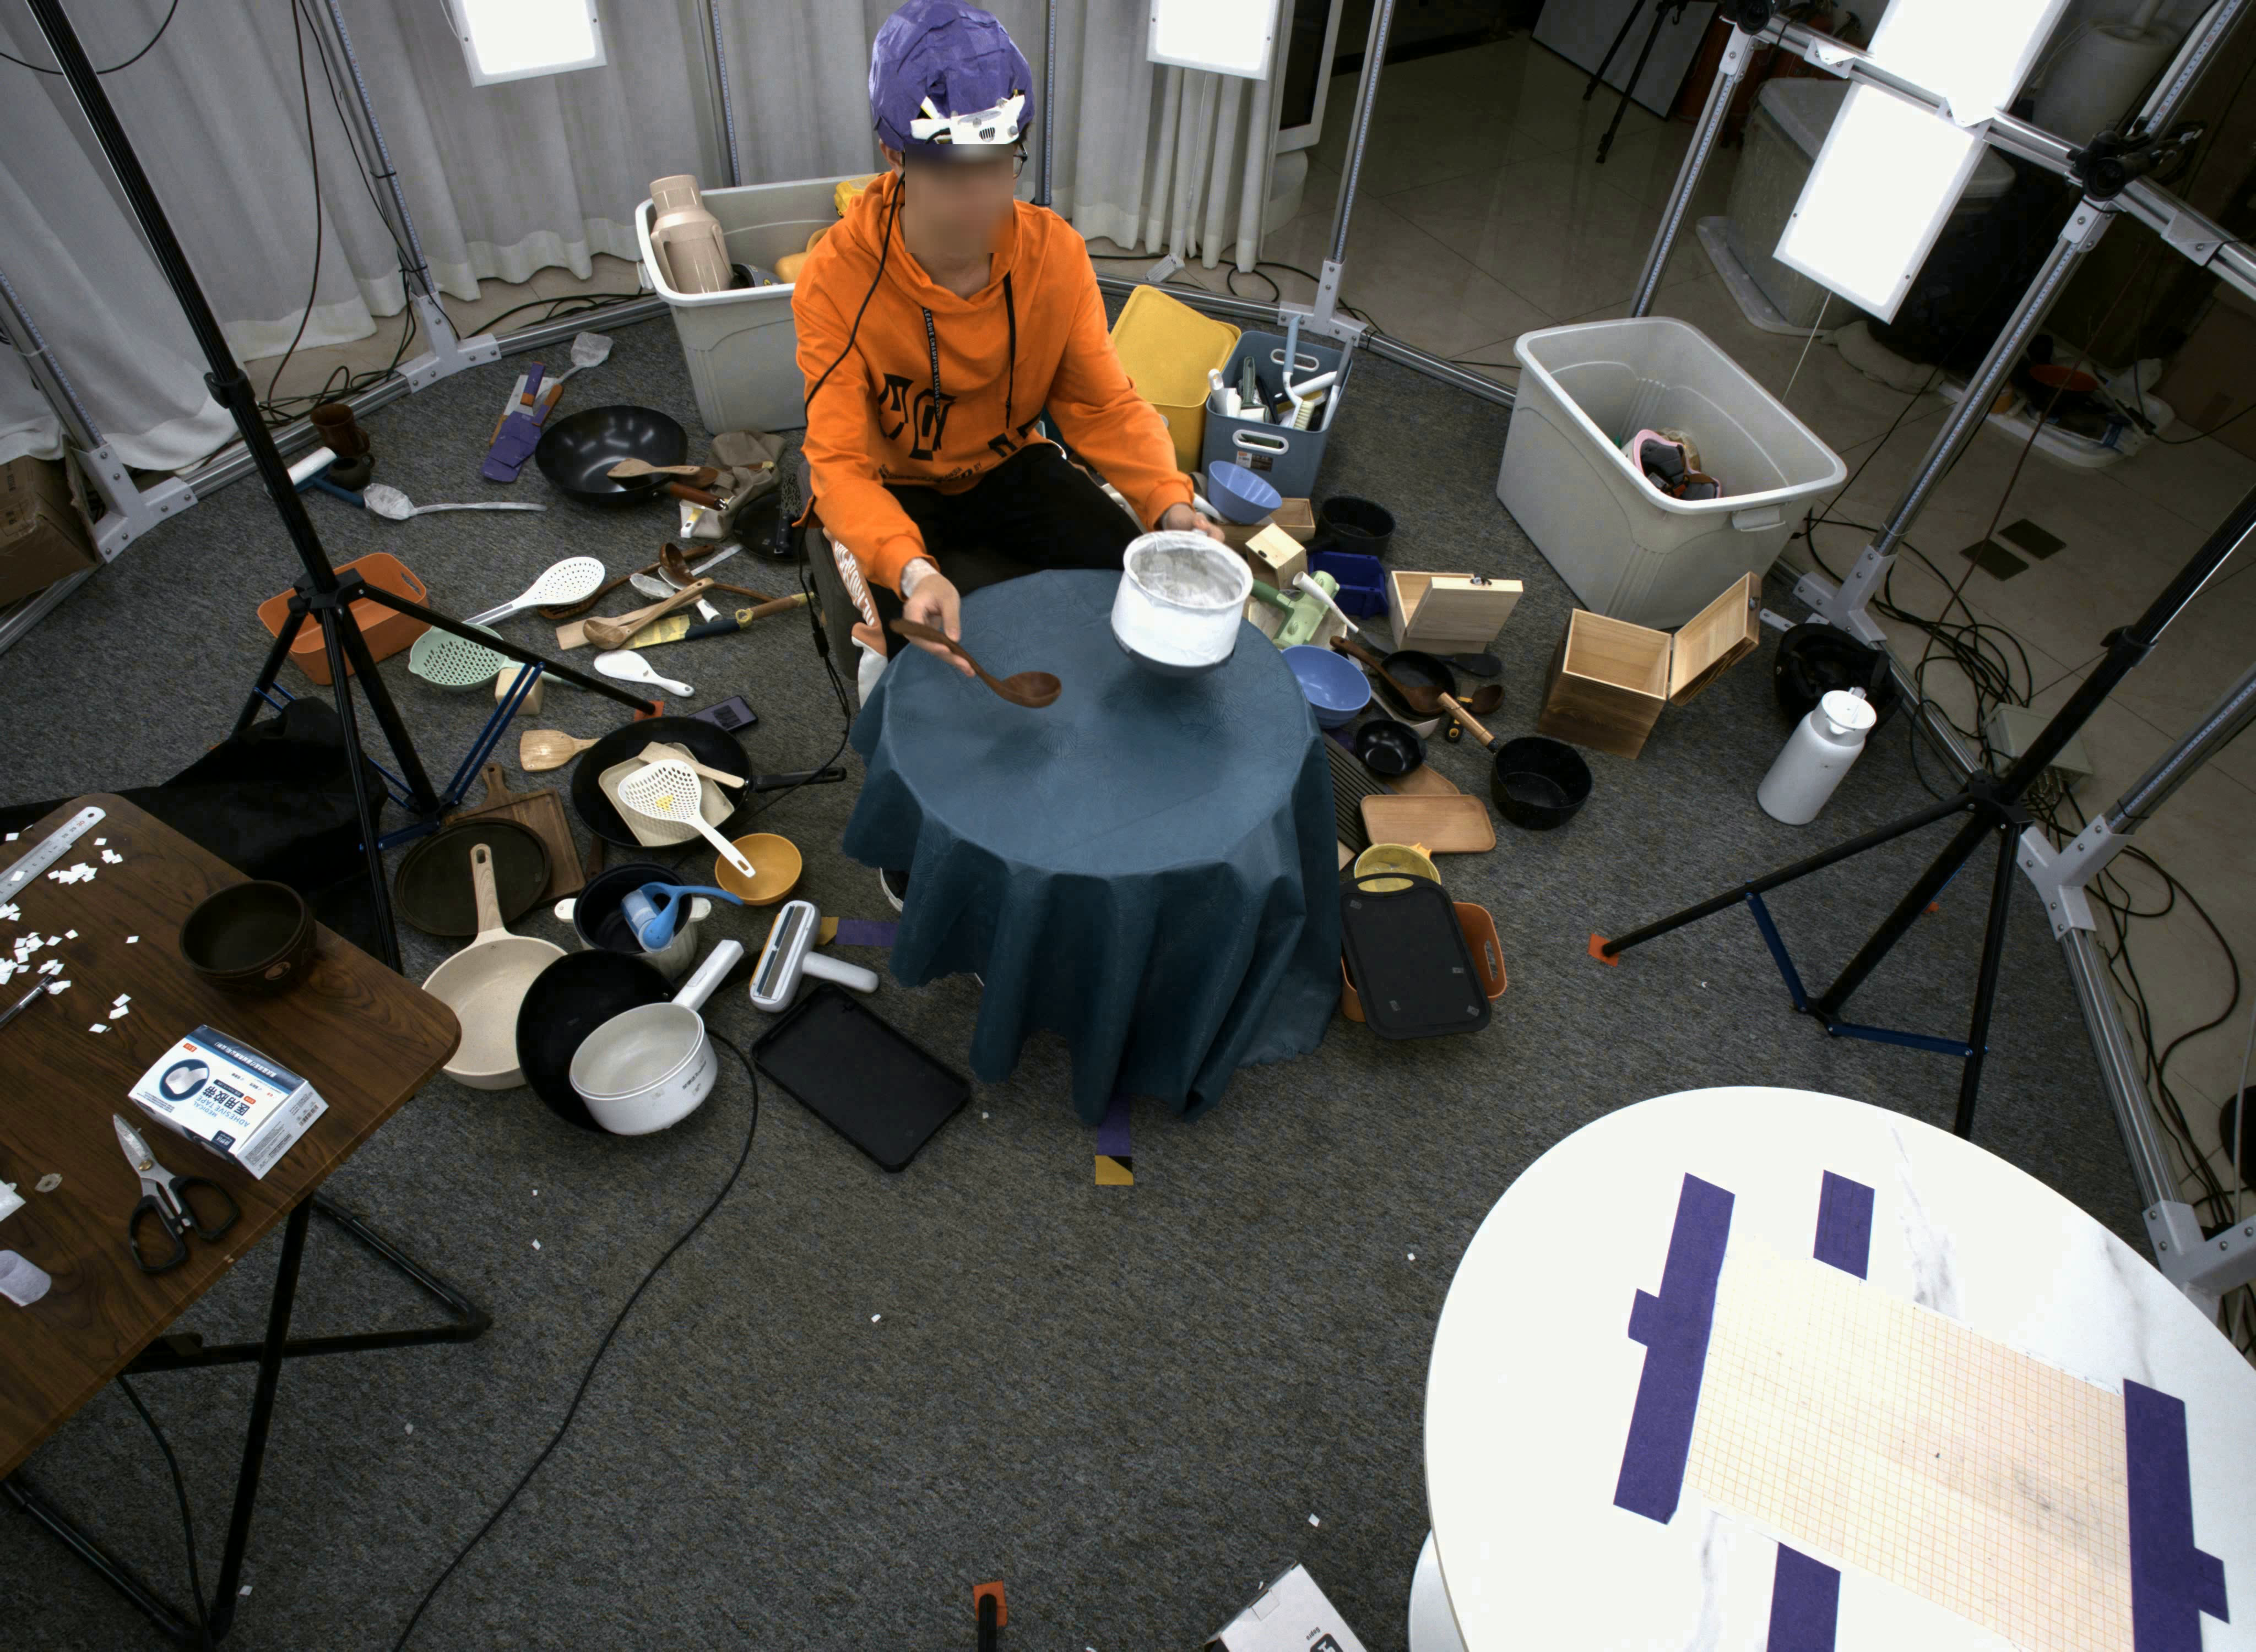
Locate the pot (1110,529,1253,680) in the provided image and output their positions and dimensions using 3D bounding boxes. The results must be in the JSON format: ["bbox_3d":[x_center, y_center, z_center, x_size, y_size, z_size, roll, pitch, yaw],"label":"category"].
[{"bbox_3d":[0.074,-0.316,1.778,0.178,0.133,0.239,15,43,-1],"label":"pot"}]

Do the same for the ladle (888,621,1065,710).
[{"bbox_3d":[-0.191,-0.220,1.671,0.256,0.065,0.078,29,11,-37],"label":"ladle"}]
